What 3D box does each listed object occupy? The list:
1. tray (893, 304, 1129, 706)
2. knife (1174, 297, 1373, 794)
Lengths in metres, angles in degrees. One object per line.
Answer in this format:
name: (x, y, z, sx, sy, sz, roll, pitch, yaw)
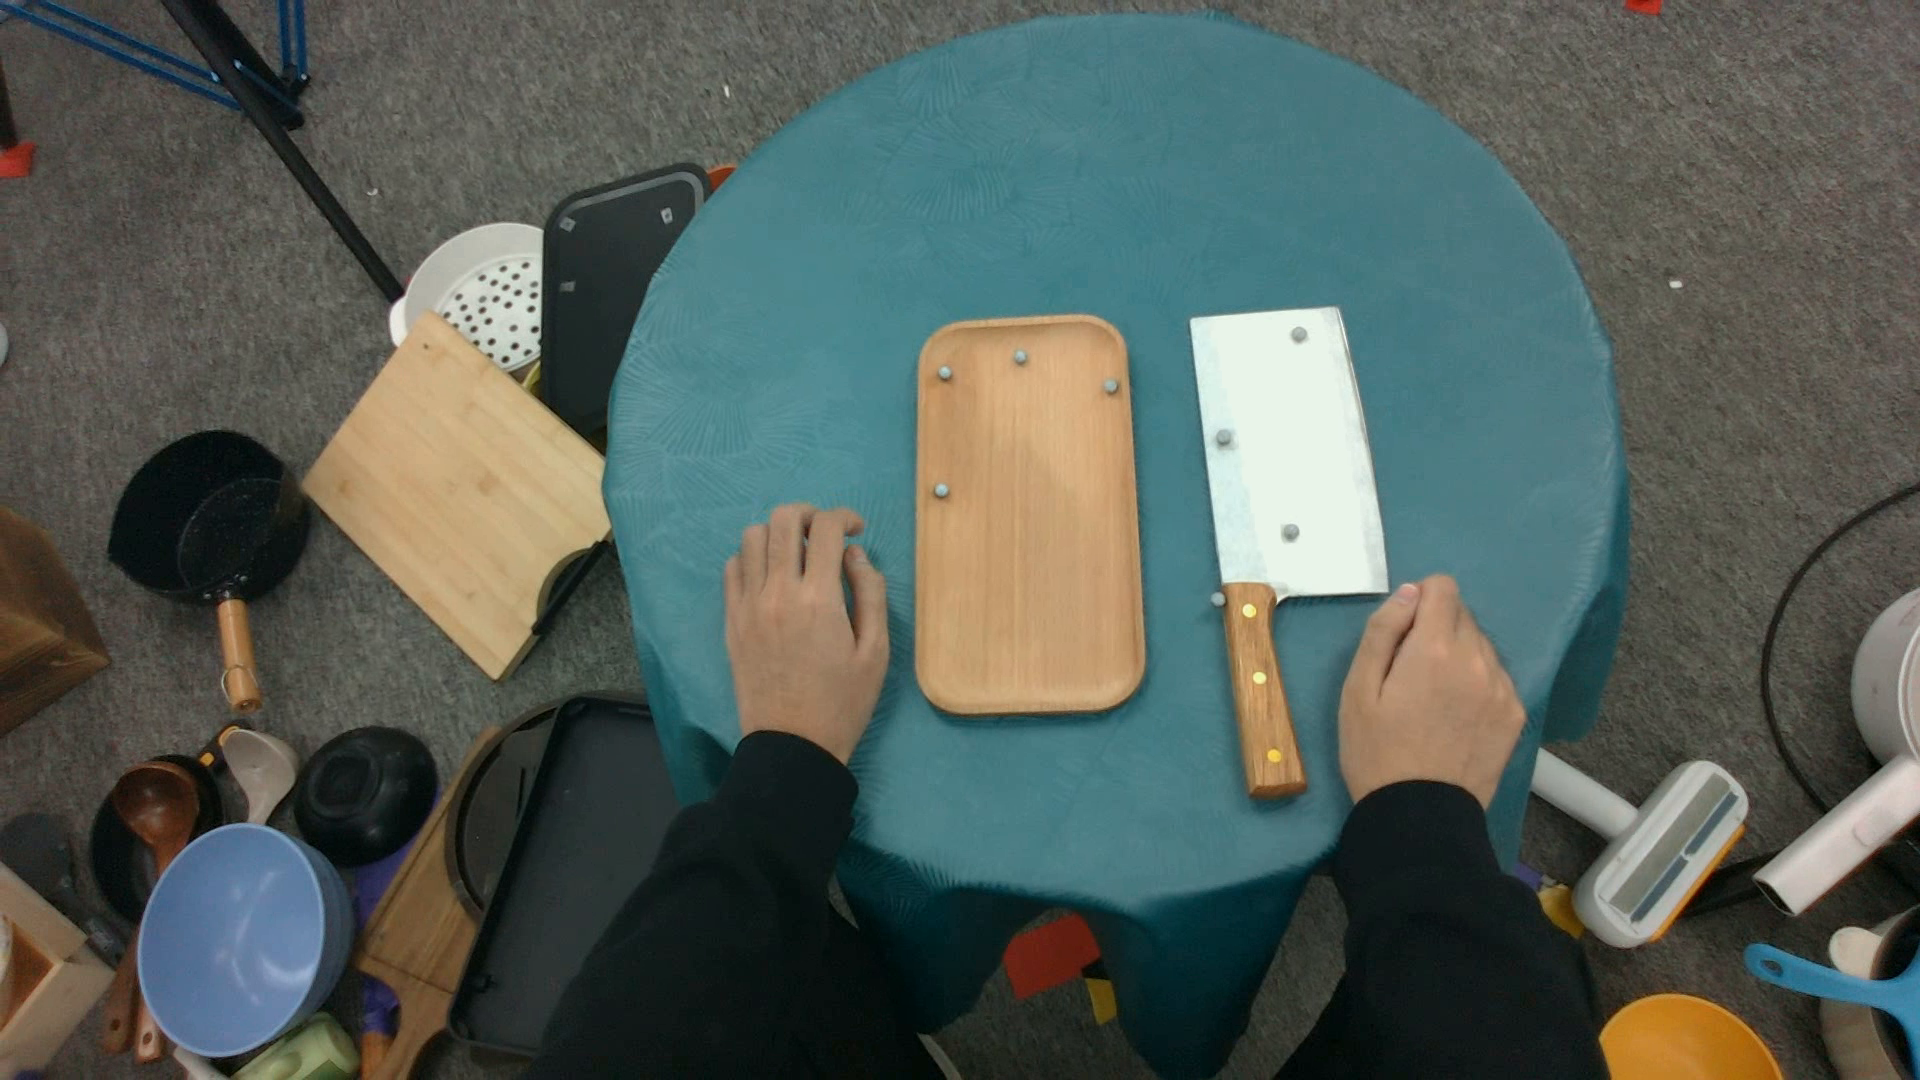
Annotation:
tray: (0.029, -0.025, 0.791, 0.130, 0.023, 0.251, -2, 66, 7)
knife: (0.179, -0.010, 0.769, 0.093, 0.021, 0.307, -4, 63, 3)
